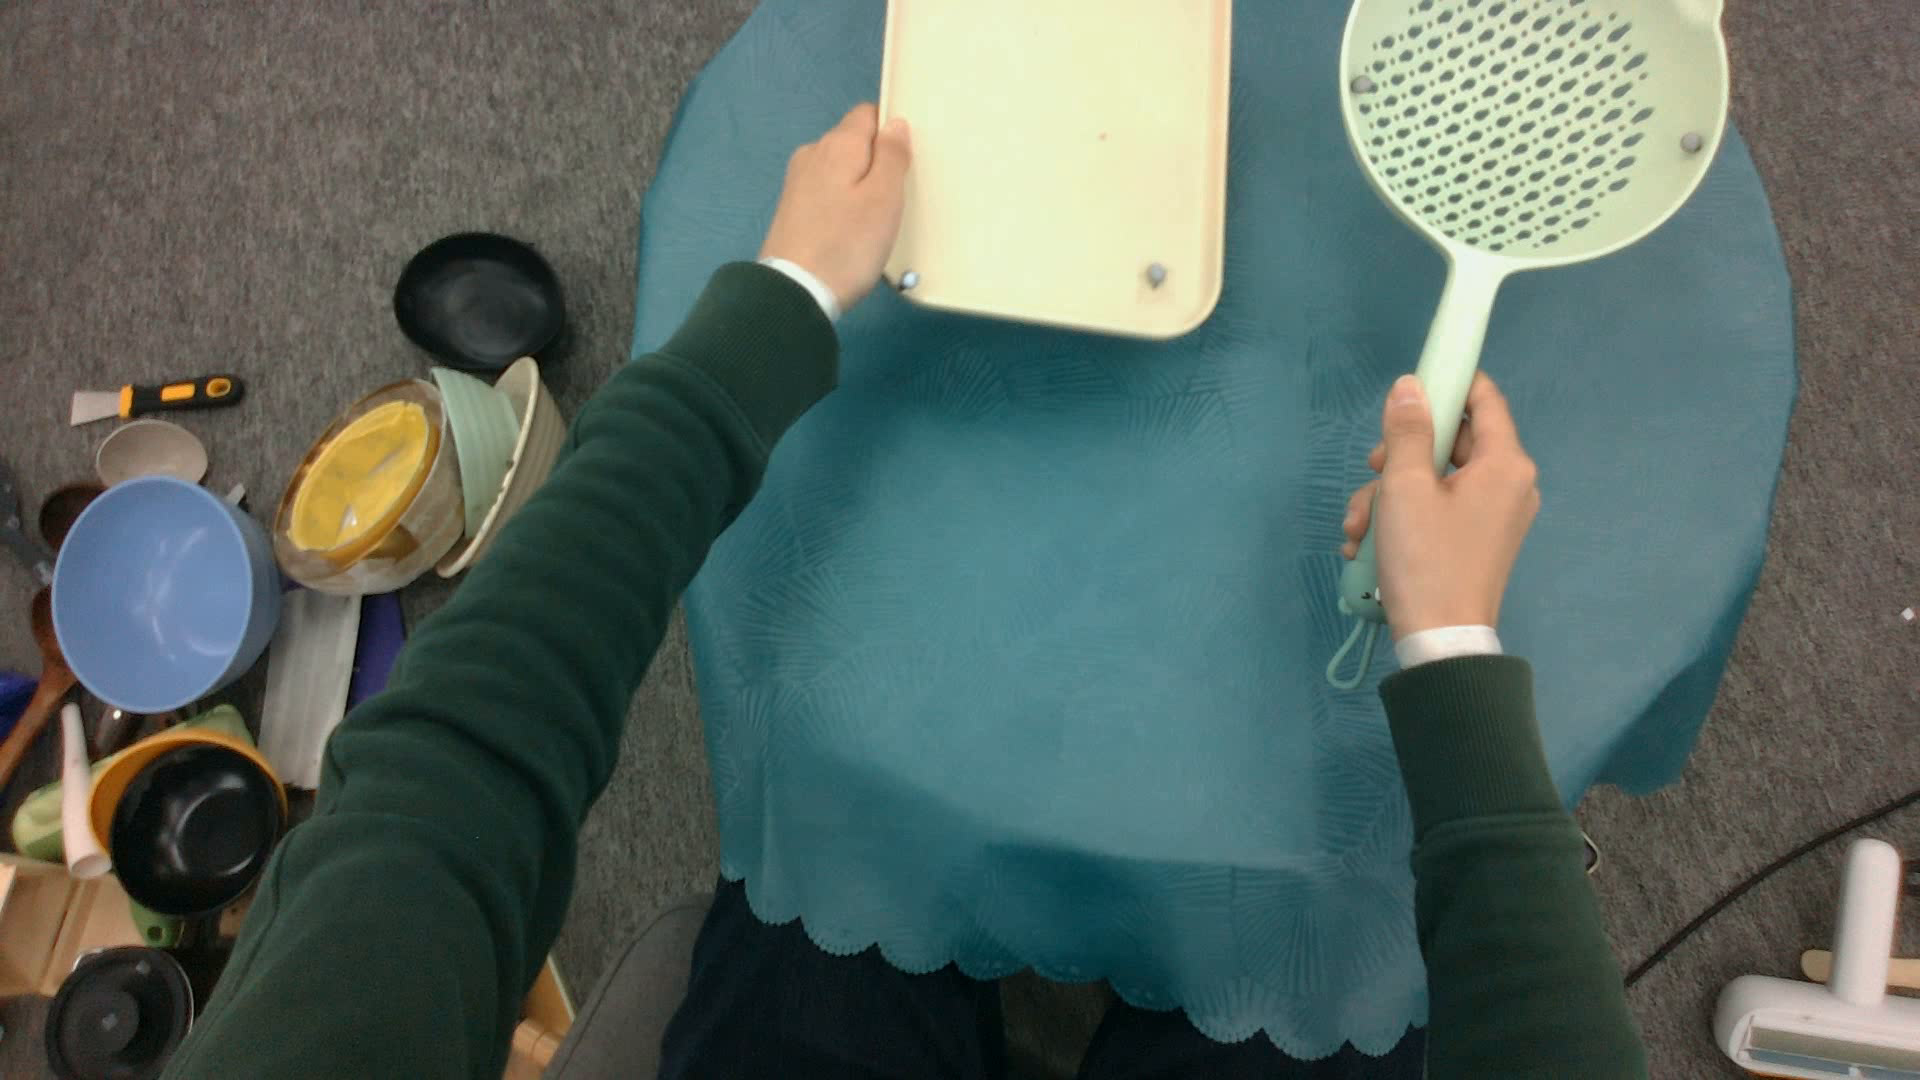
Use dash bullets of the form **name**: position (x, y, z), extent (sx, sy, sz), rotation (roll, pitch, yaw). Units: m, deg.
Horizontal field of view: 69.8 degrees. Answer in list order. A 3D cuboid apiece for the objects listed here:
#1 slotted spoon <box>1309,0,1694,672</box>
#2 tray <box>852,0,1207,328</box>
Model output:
- **slotted spoon**: position (0.214, -0.116, 0.612), extent (0.169, 0.075, 0.360), rotation (17, 74, 3)
- **tray**: position (0.037, -0.221, 0.670), extent (0.171, 0.017, 0.240), rotation (6, 77, -11)
